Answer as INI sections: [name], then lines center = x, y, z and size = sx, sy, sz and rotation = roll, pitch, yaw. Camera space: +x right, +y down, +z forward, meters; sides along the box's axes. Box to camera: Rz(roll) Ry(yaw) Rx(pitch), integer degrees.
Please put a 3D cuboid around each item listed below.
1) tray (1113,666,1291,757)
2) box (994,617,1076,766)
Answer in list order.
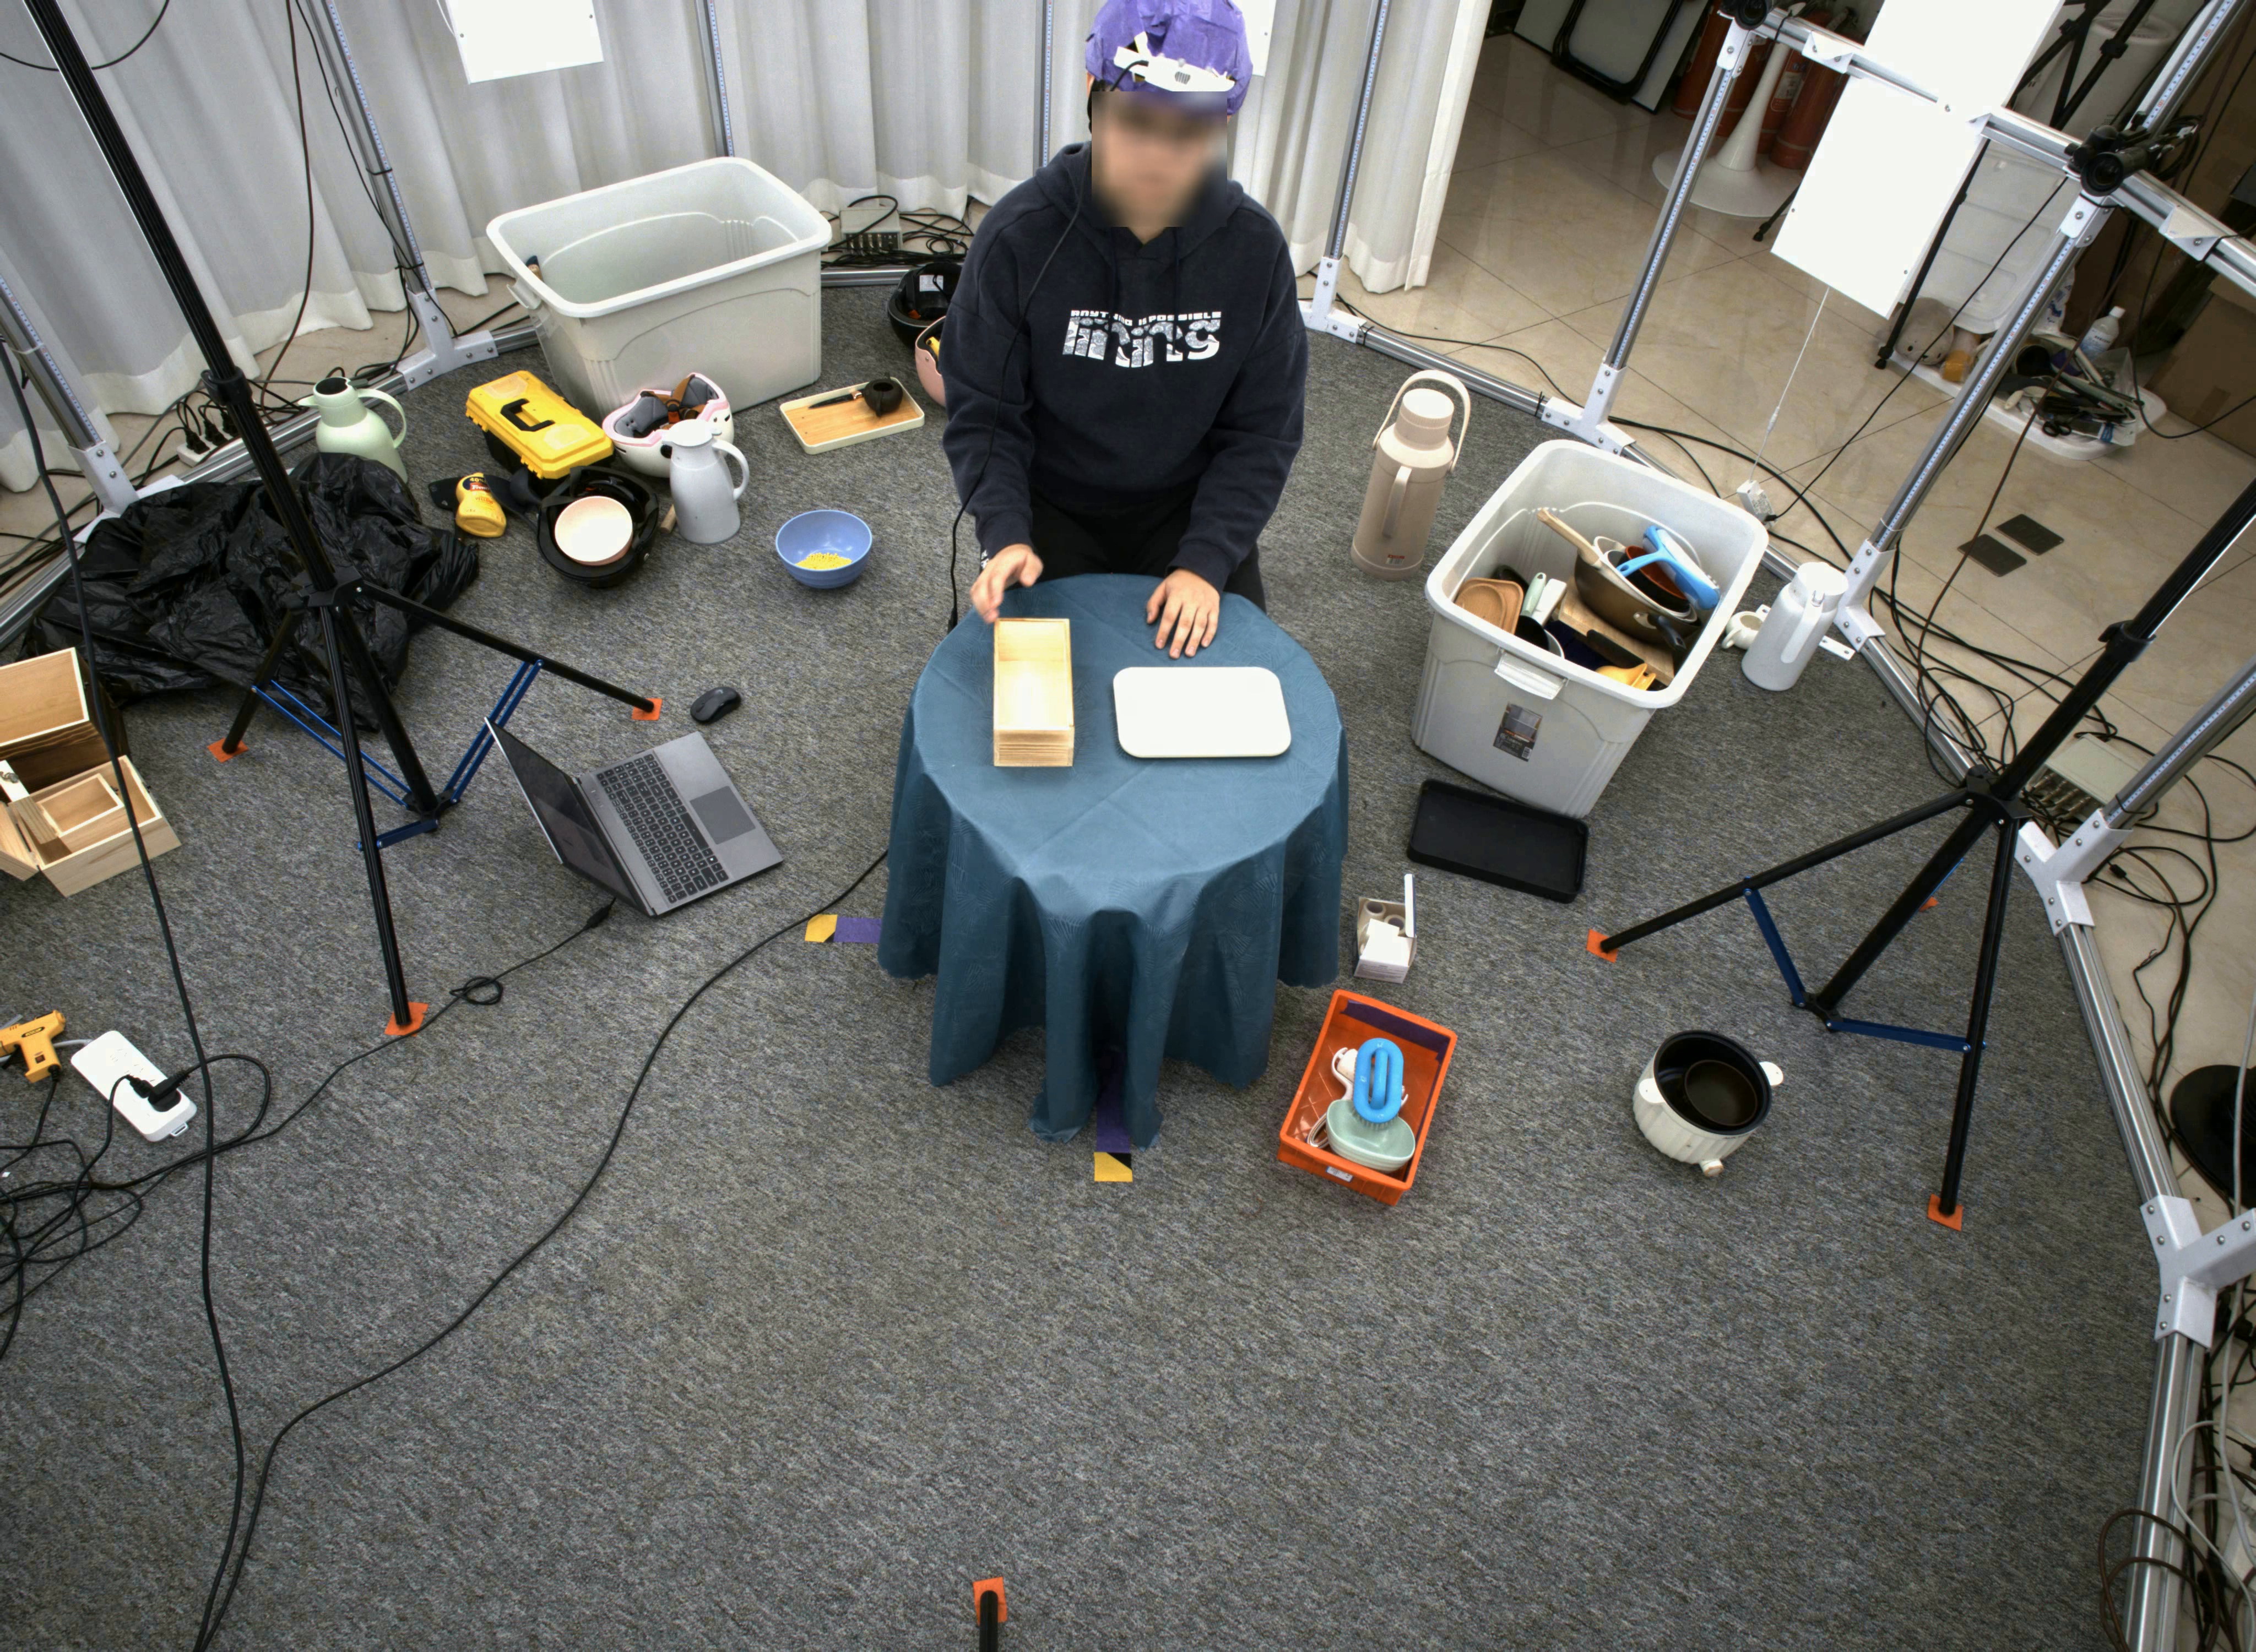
[tray]
center = 0.102, -0.160, 1.801
size = 0.239, 0.017, 0.175
rotation = -1, 48, -5
[box]
center = -0.130, -0.187, 1.766
size = 0.107, 0.078, 0.217
rotation = 0, 49, -5
